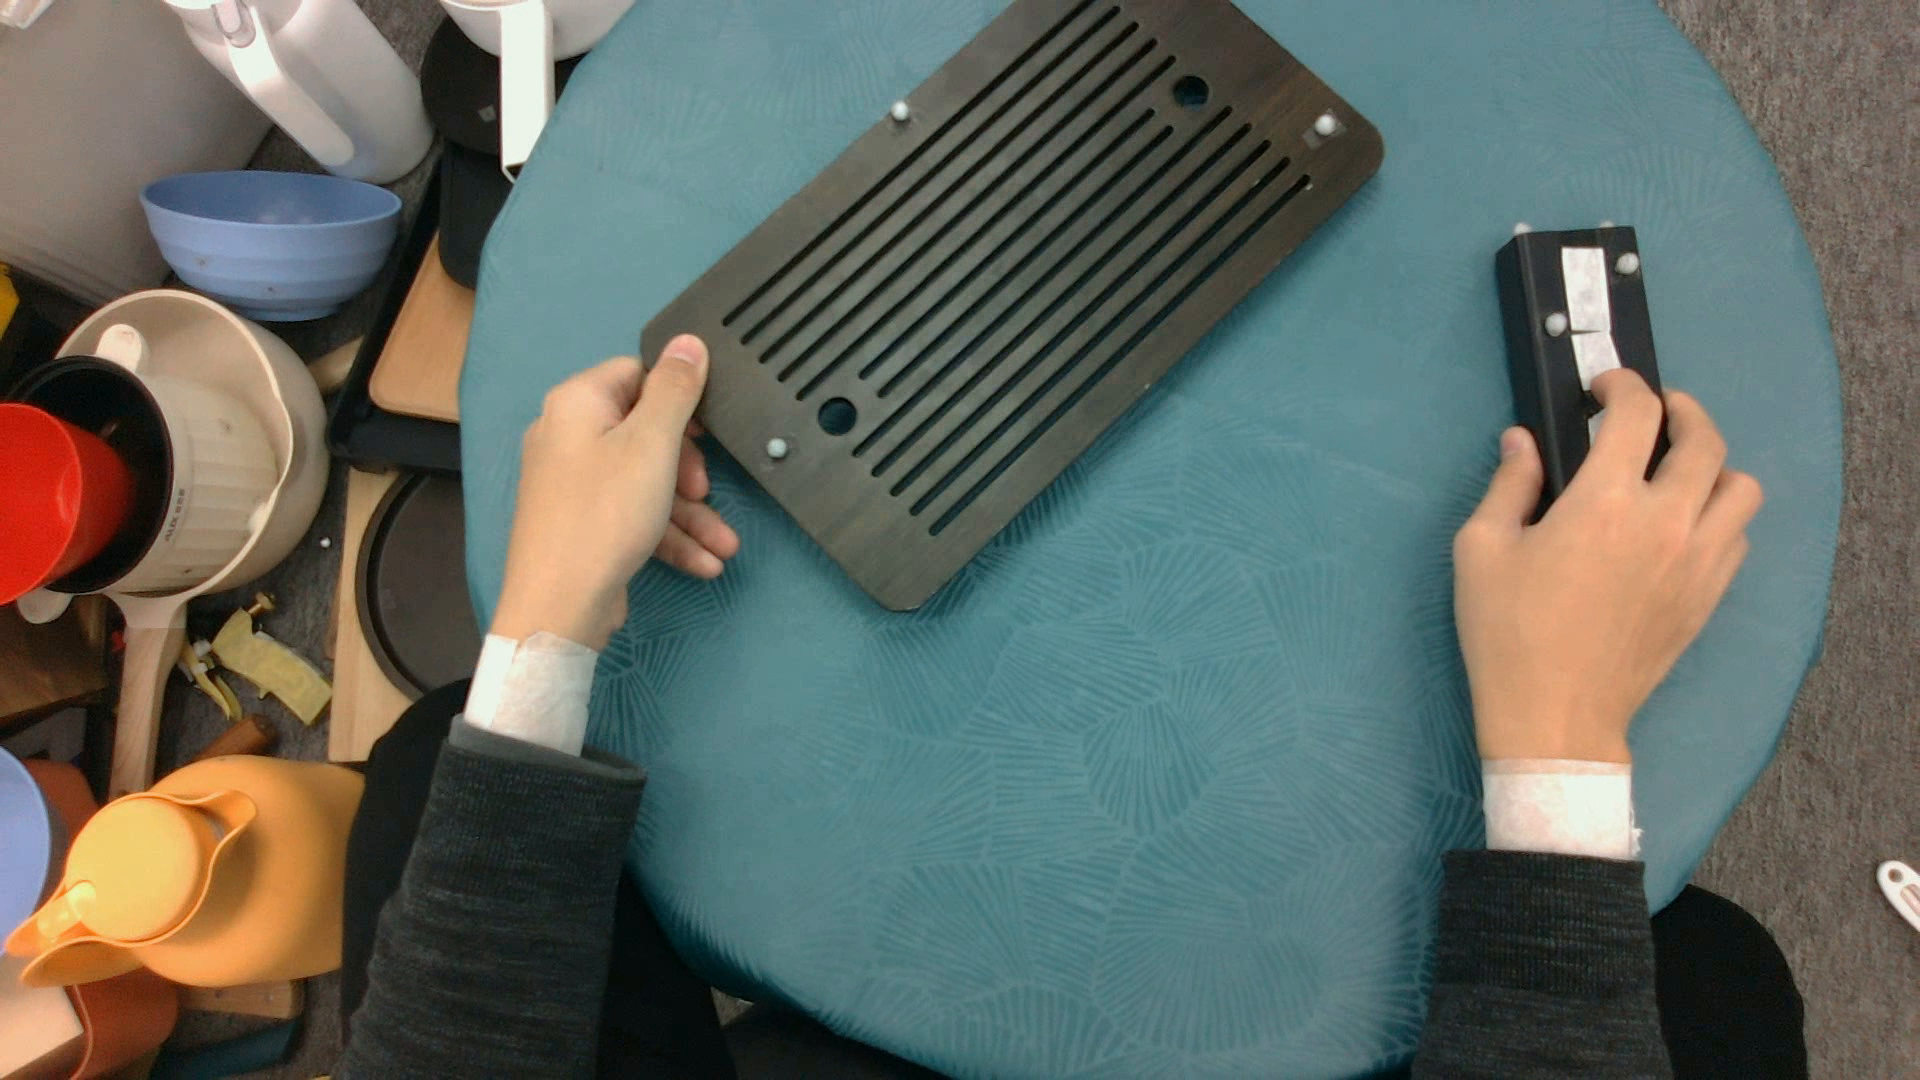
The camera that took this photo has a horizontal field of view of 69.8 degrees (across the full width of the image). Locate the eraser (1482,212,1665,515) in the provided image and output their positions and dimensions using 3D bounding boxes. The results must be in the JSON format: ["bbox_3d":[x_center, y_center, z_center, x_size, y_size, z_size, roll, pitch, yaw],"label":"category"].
[{"bbox_3d":[0.258,-0.074,0.584,0.053,0.030,0.126,-5,78,4],"label":"eraser"}]

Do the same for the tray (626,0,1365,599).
[{"bbox_3d":[0.019,-0.132,0.604,0.306,0.018,0.170,-43,81,-10],"label":"tray"}]
